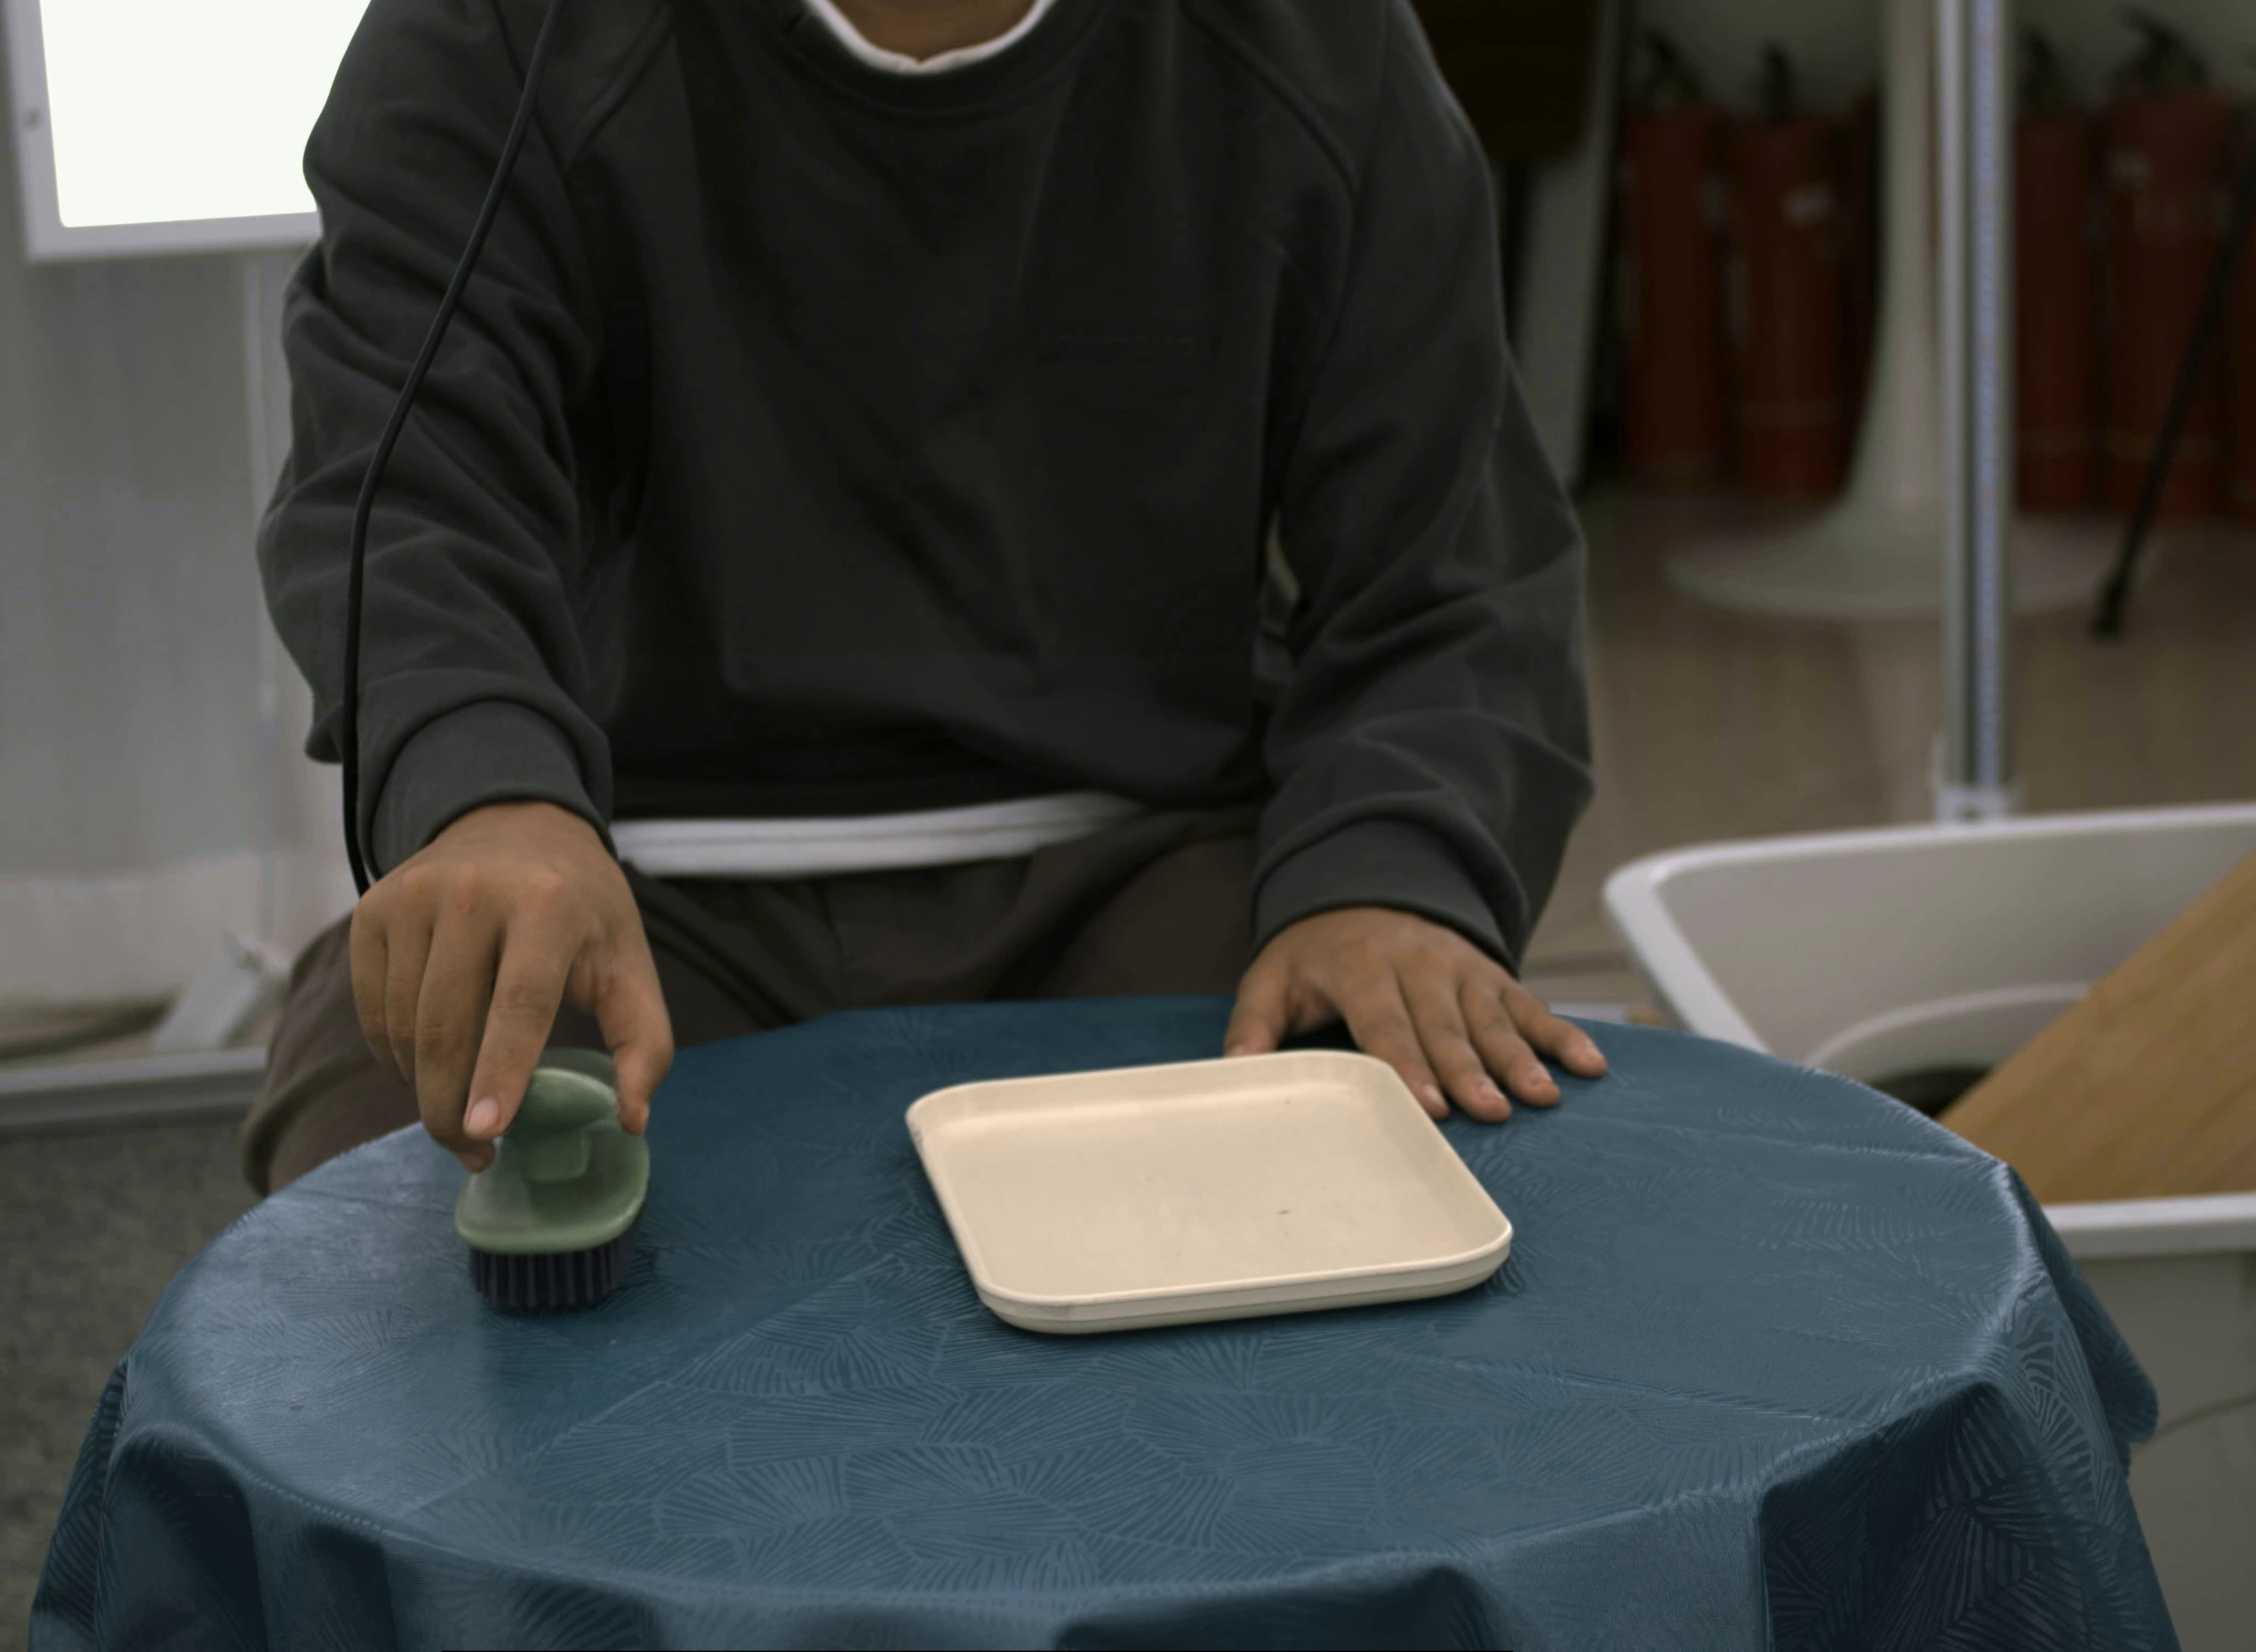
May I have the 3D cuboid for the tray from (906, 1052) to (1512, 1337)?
[{"bbox_3d":[0.023,0.118,1.743,0.168,0.017,0.241,-5,14,-7],"label":"tray"}]

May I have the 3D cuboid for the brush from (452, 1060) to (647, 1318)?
[{"bbox_3d":[-0.184,0.114,1.727,0.059,0.077,0.123,-1,1,-1],"label":"brush"}]
